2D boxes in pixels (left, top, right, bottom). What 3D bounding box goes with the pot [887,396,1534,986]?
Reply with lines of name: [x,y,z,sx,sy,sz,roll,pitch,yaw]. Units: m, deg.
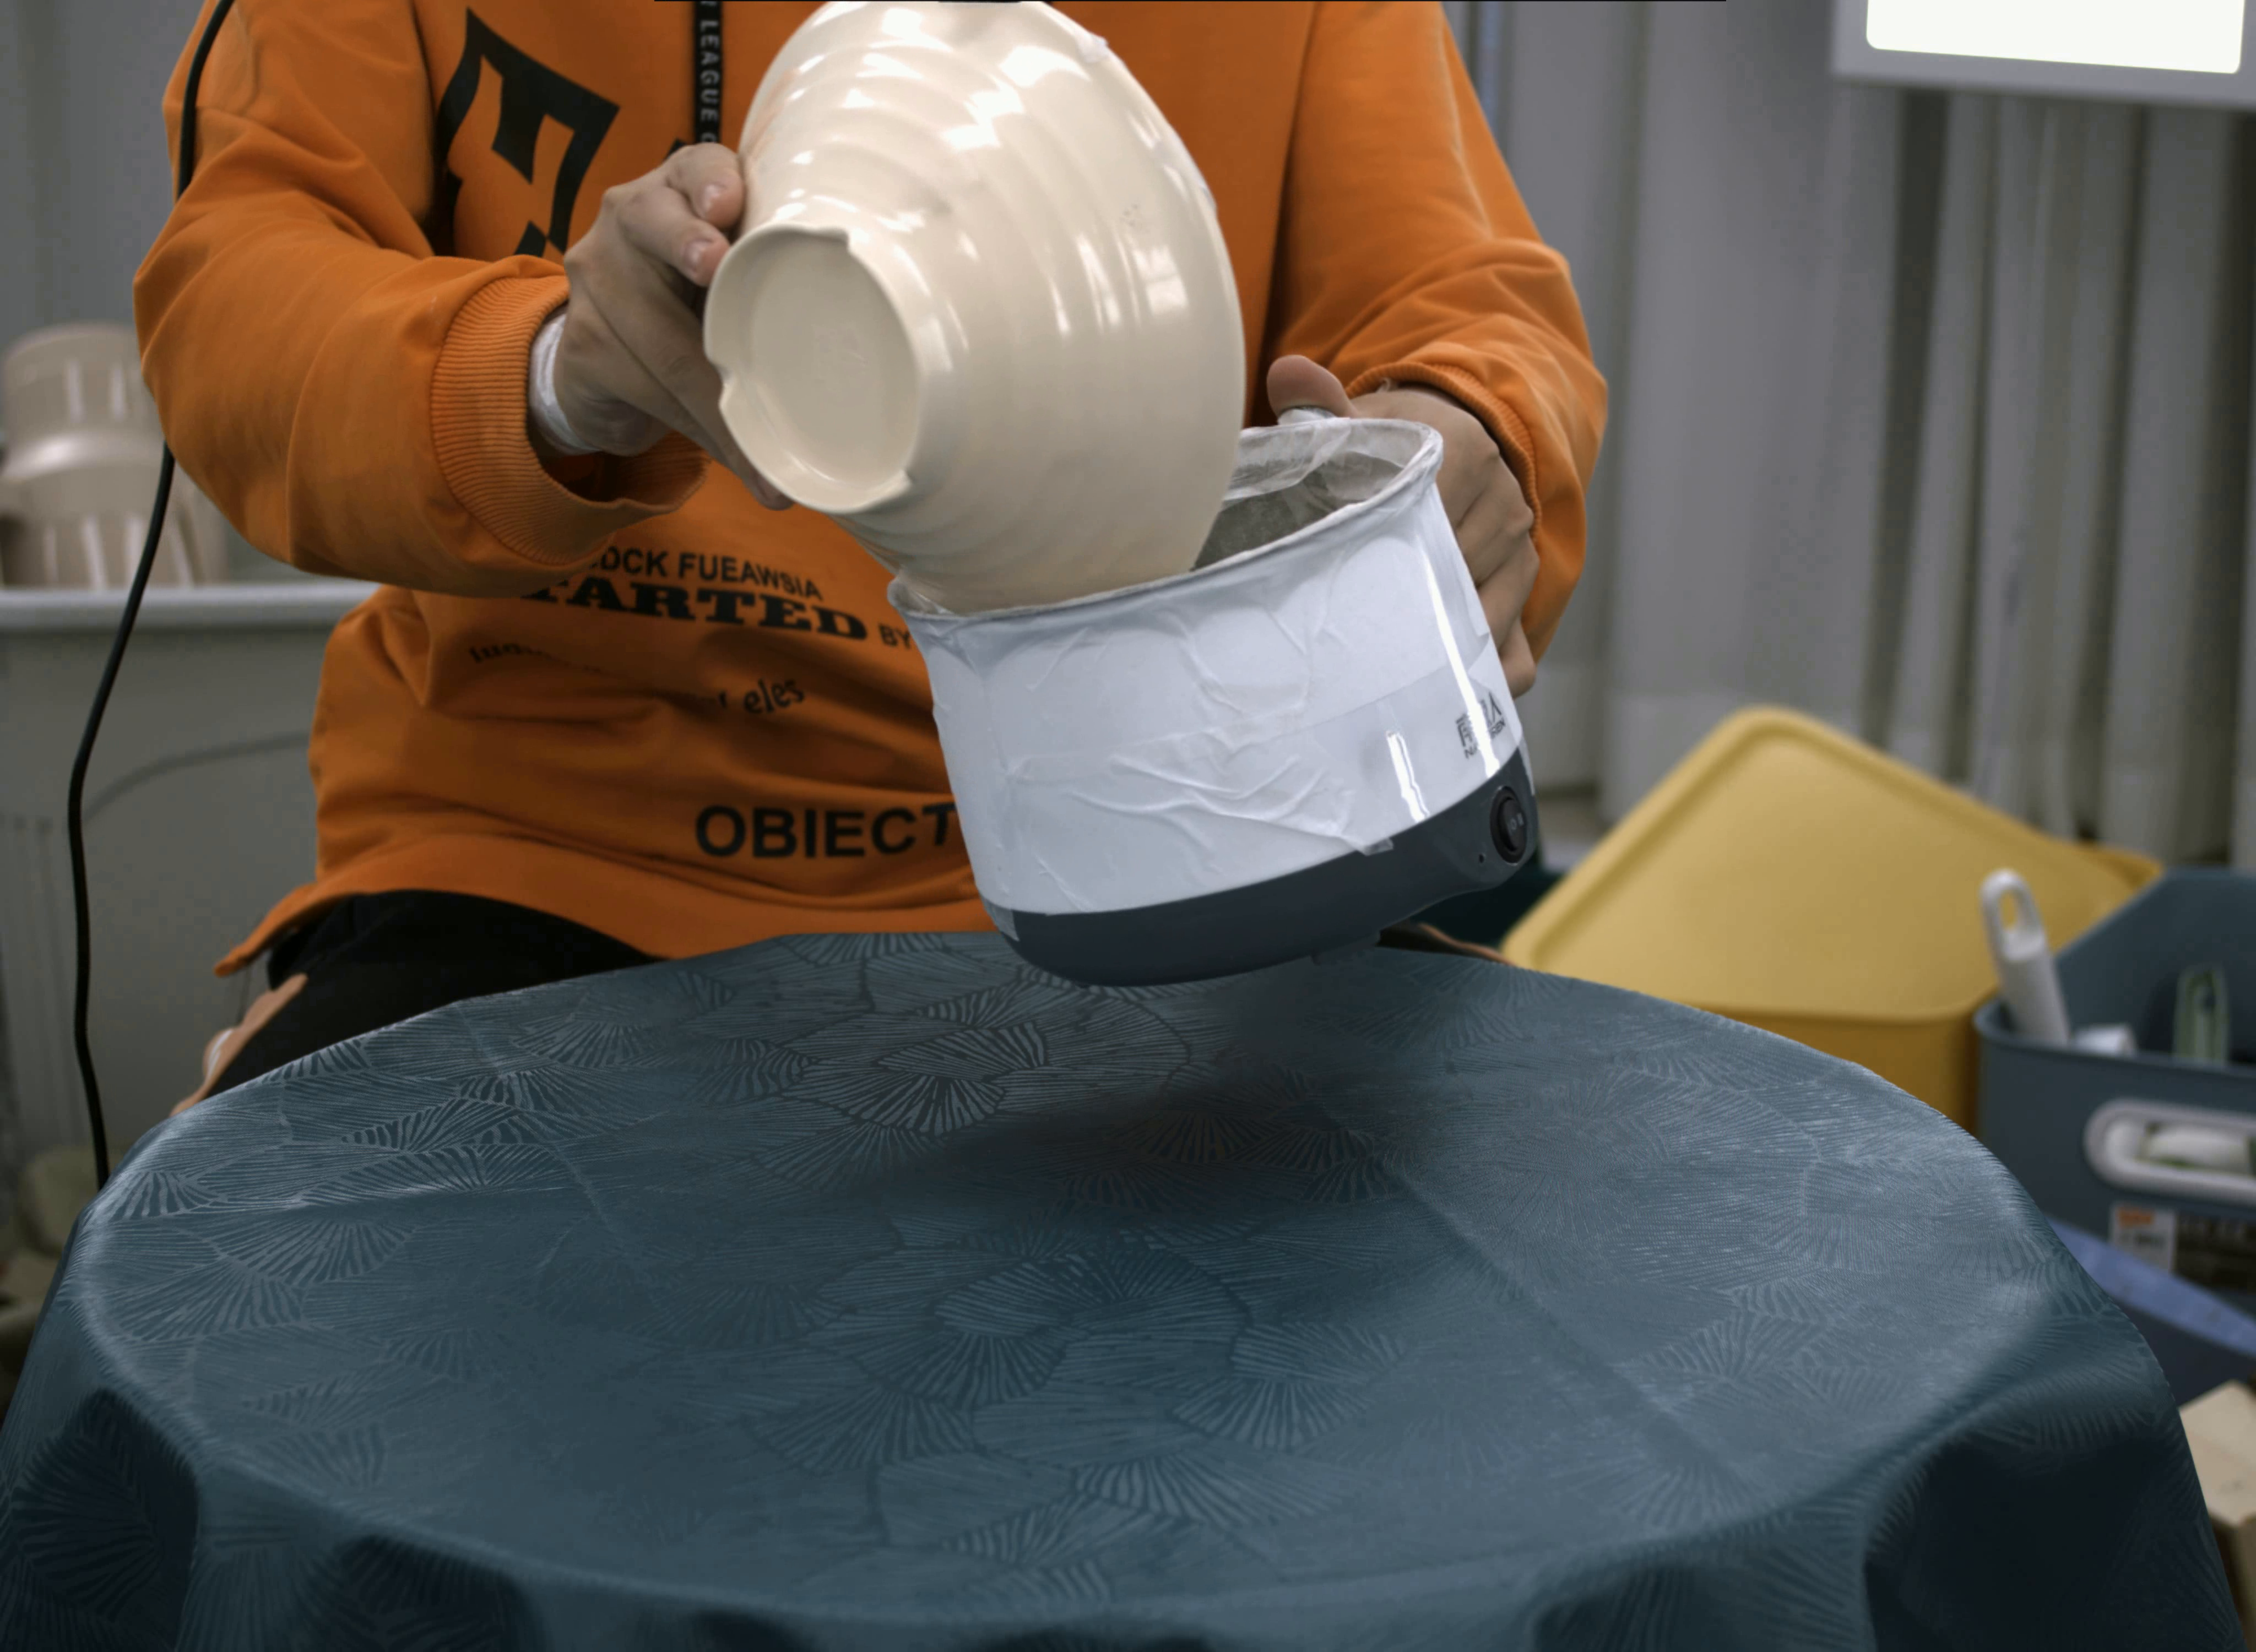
pot: [0.039,-0.048,1.649,0.177,0.138,0.233,-7,19,29]

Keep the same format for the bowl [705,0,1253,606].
bowl: [-0.065,-0.145,1.534,0.201,0.206,0.078,13,26,36]
